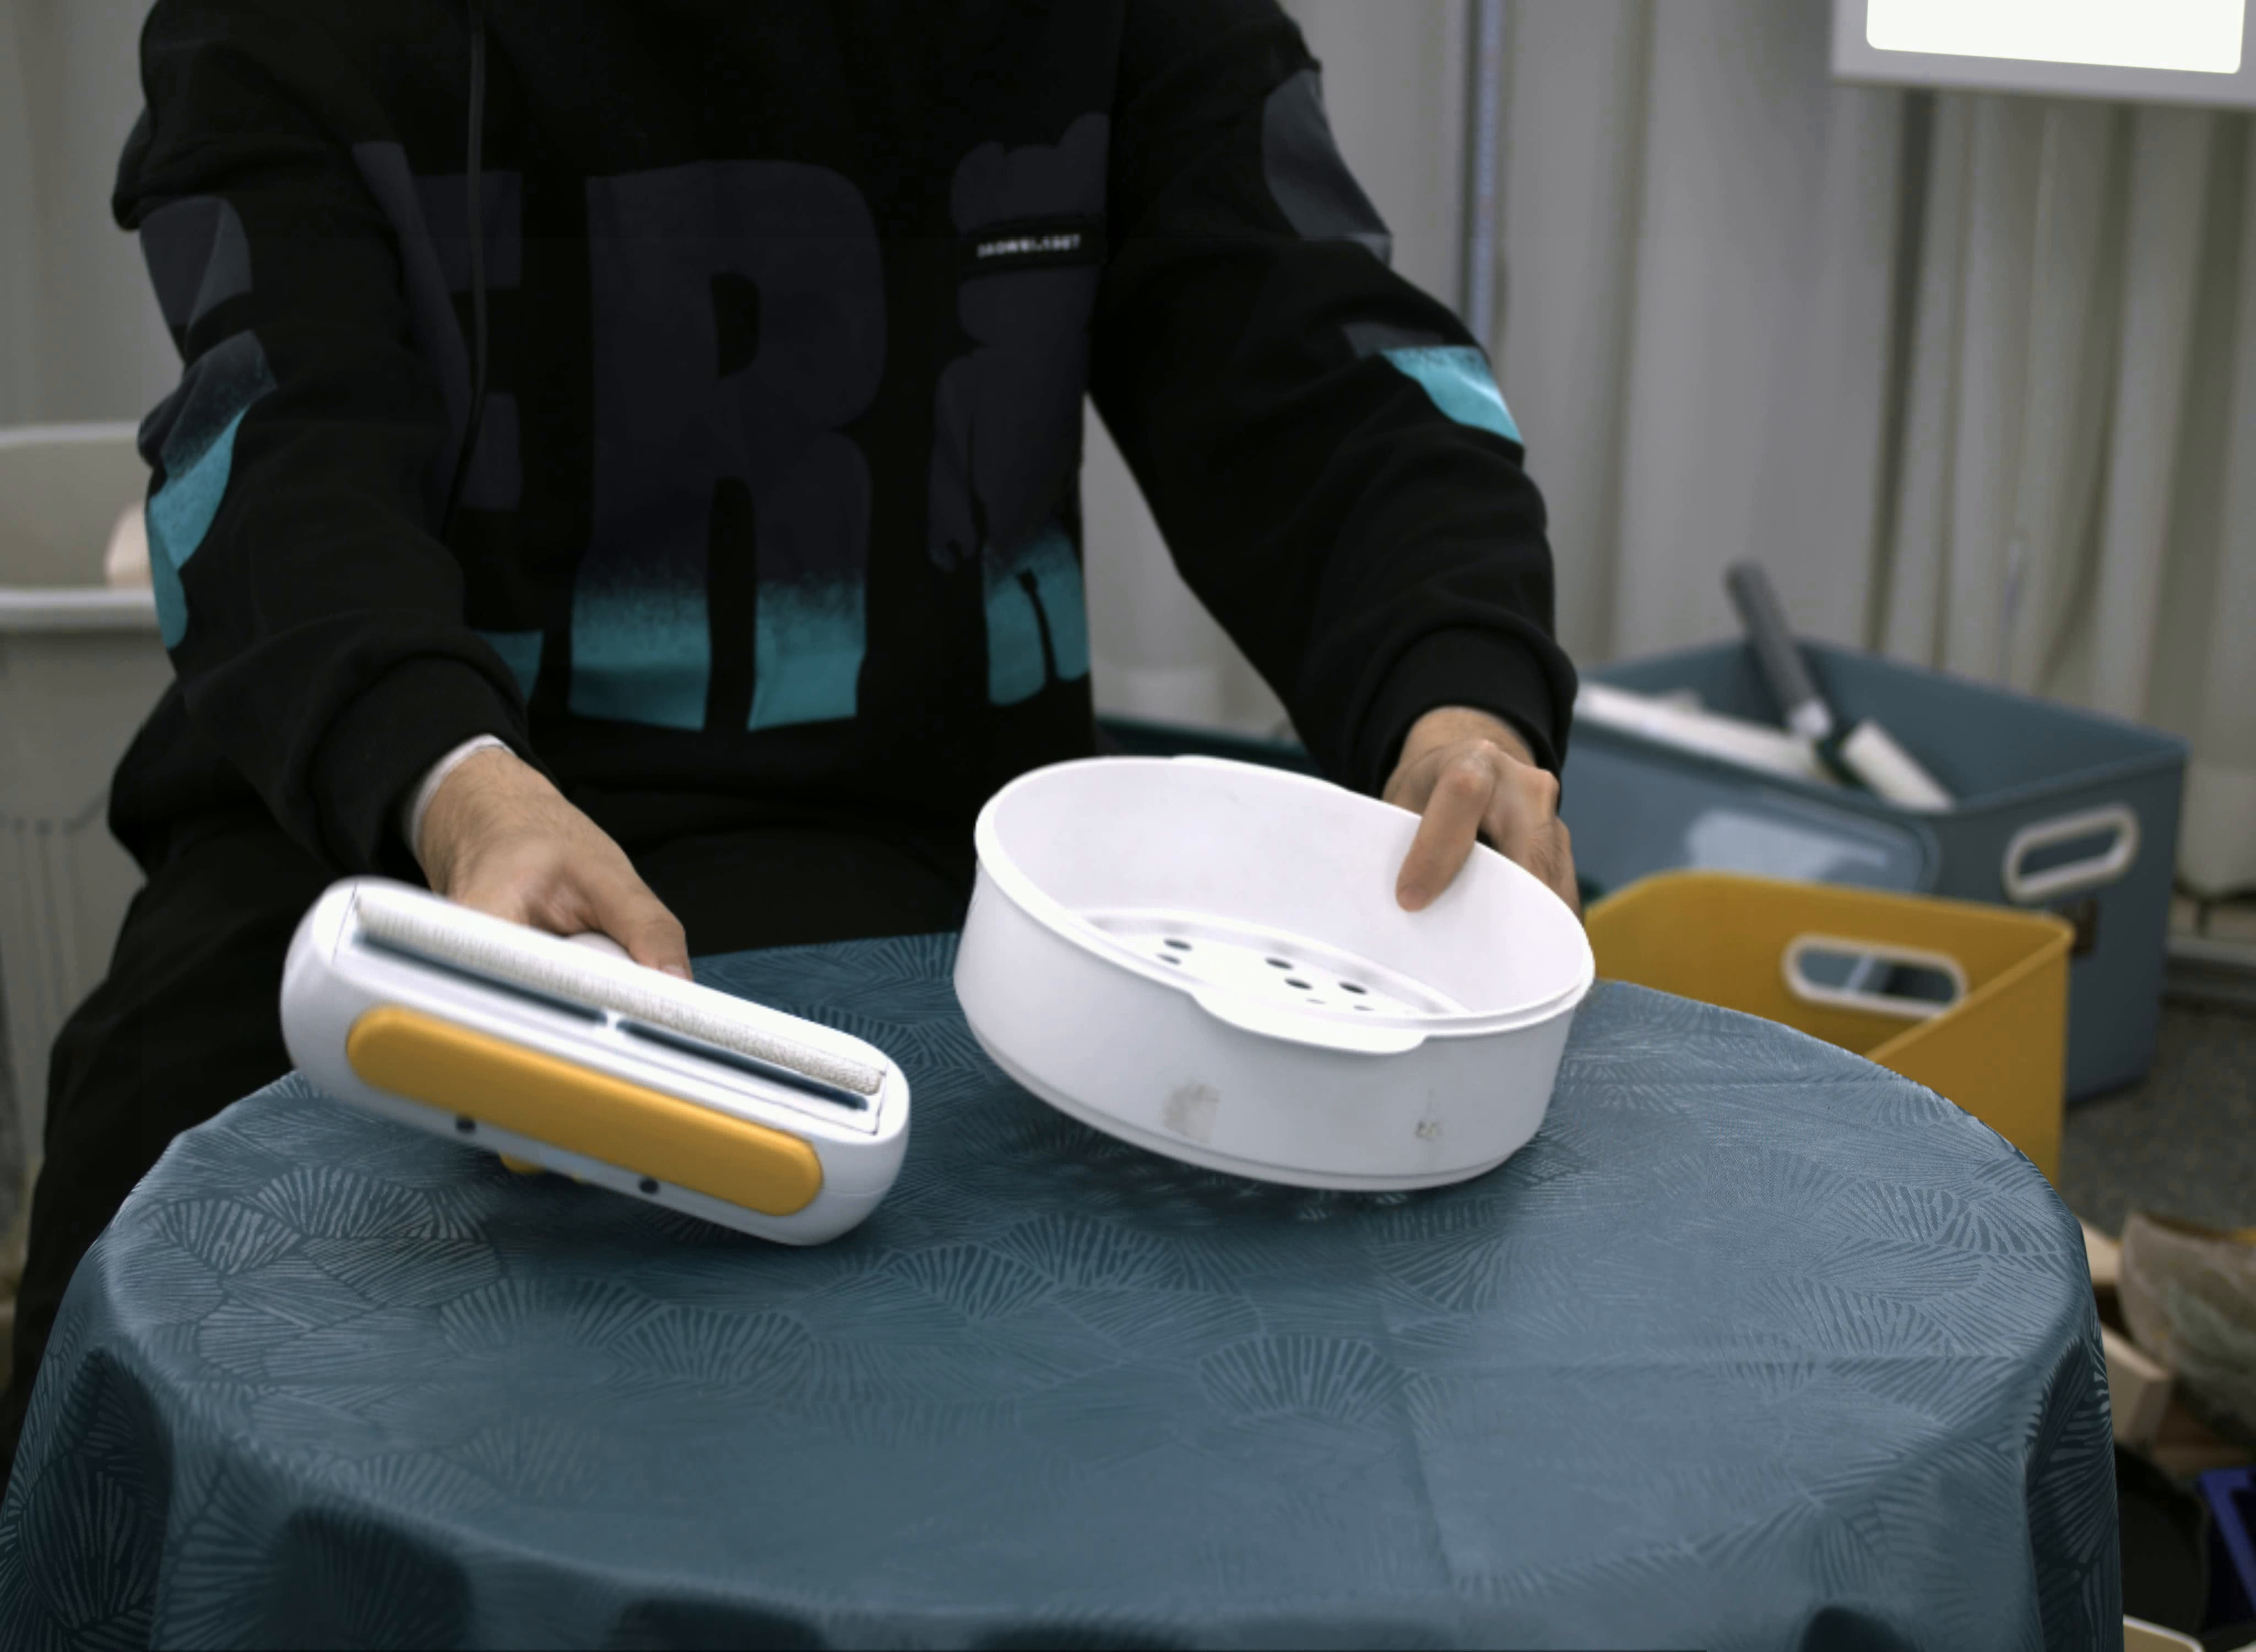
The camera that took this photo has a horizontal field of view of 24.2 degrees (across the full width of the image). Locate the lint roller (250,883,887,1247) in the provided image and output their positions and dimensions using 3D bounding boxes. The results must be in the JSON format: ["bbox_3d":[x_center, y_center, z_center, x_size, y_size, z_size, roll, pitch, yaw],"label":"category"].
[{"bbox_3d":[-0.165,0.057,1.621,0.192,0.075,0.191,14,21,-3],"label":"lint roller"}]

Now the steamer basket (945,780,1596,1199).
[{"bbox_3d":[0.043,0.052,1.661,0.202,0.070,0.229,12,18,-8],"label":"steamer basket"}]
